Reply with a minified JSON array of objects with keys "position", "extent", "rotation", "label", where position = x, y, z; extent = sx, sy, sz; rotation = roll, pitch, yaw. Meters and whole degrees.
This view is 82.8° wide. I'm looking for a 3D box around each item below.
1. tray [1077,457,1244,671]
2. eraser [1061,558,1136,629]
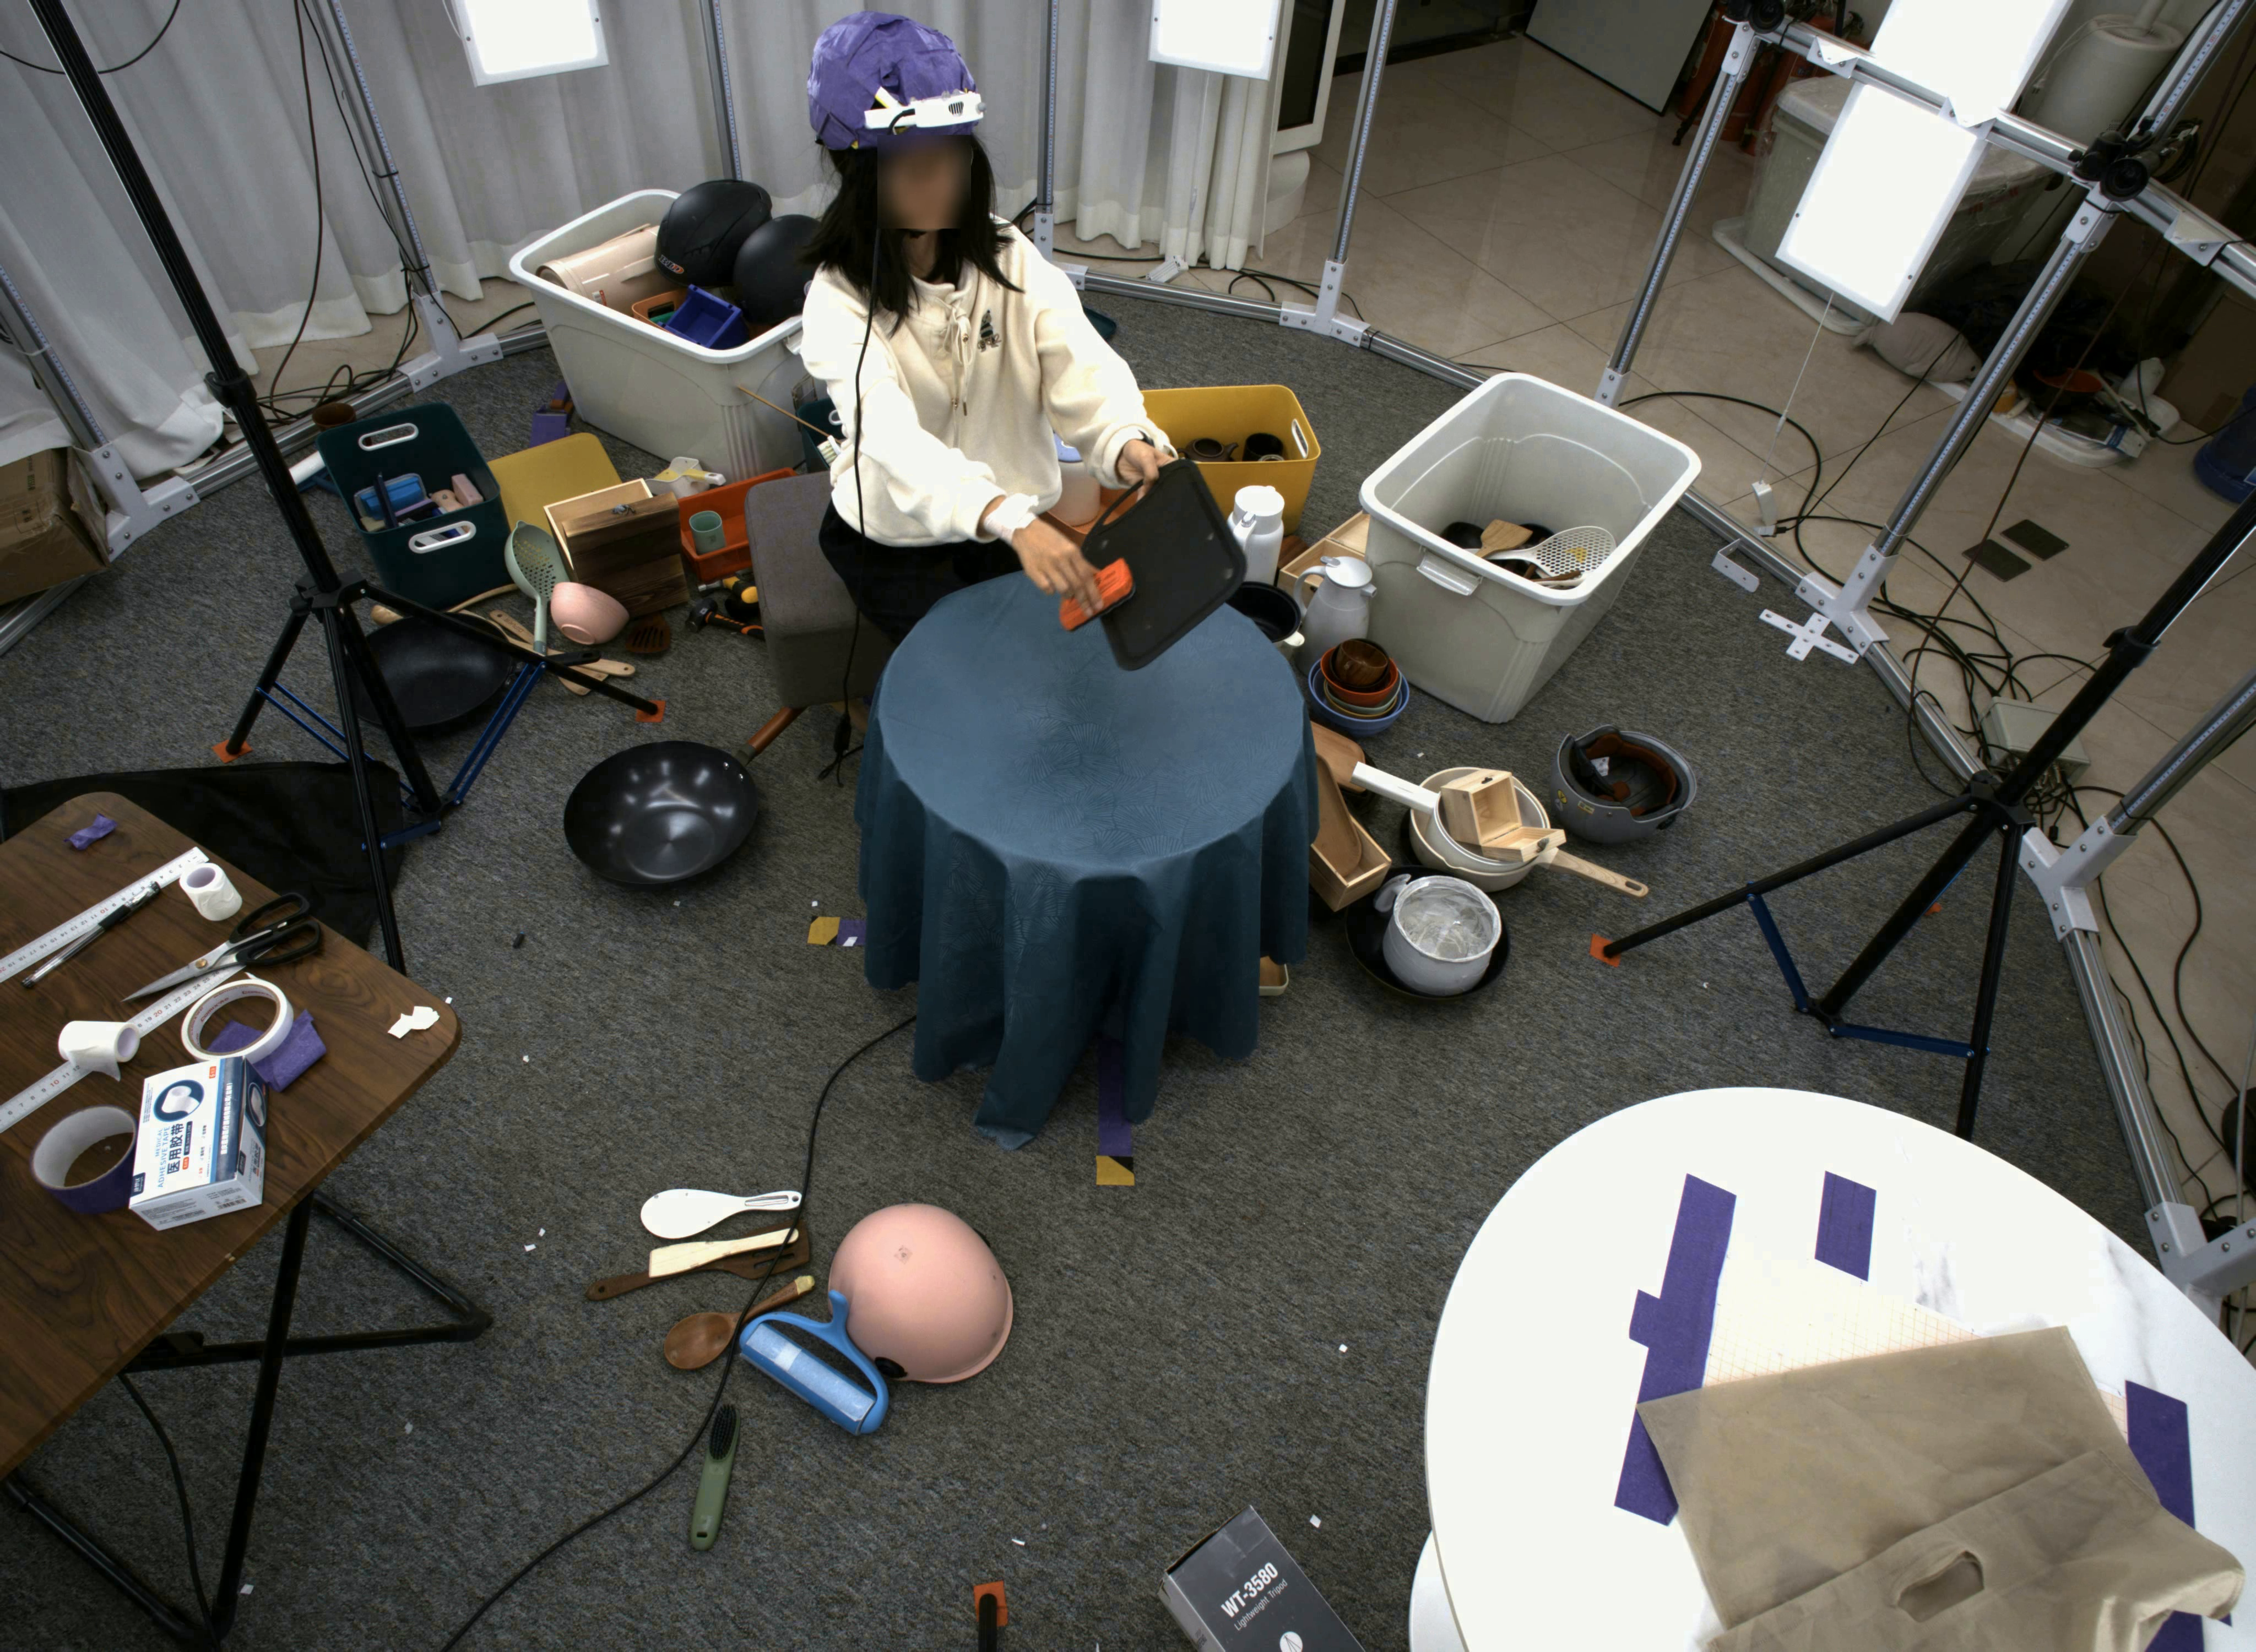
[{"position":[0.031,-0.347,1.657],"extent":[0.209,0.009,0.334],"rotation":[-37,43,19],"label":"tray"},{"position":[-0.039,-0.302,1.673],"extent":[0.107,0.022,0.060],"rotation":[-27,40,26],"label":"eraser"}]
